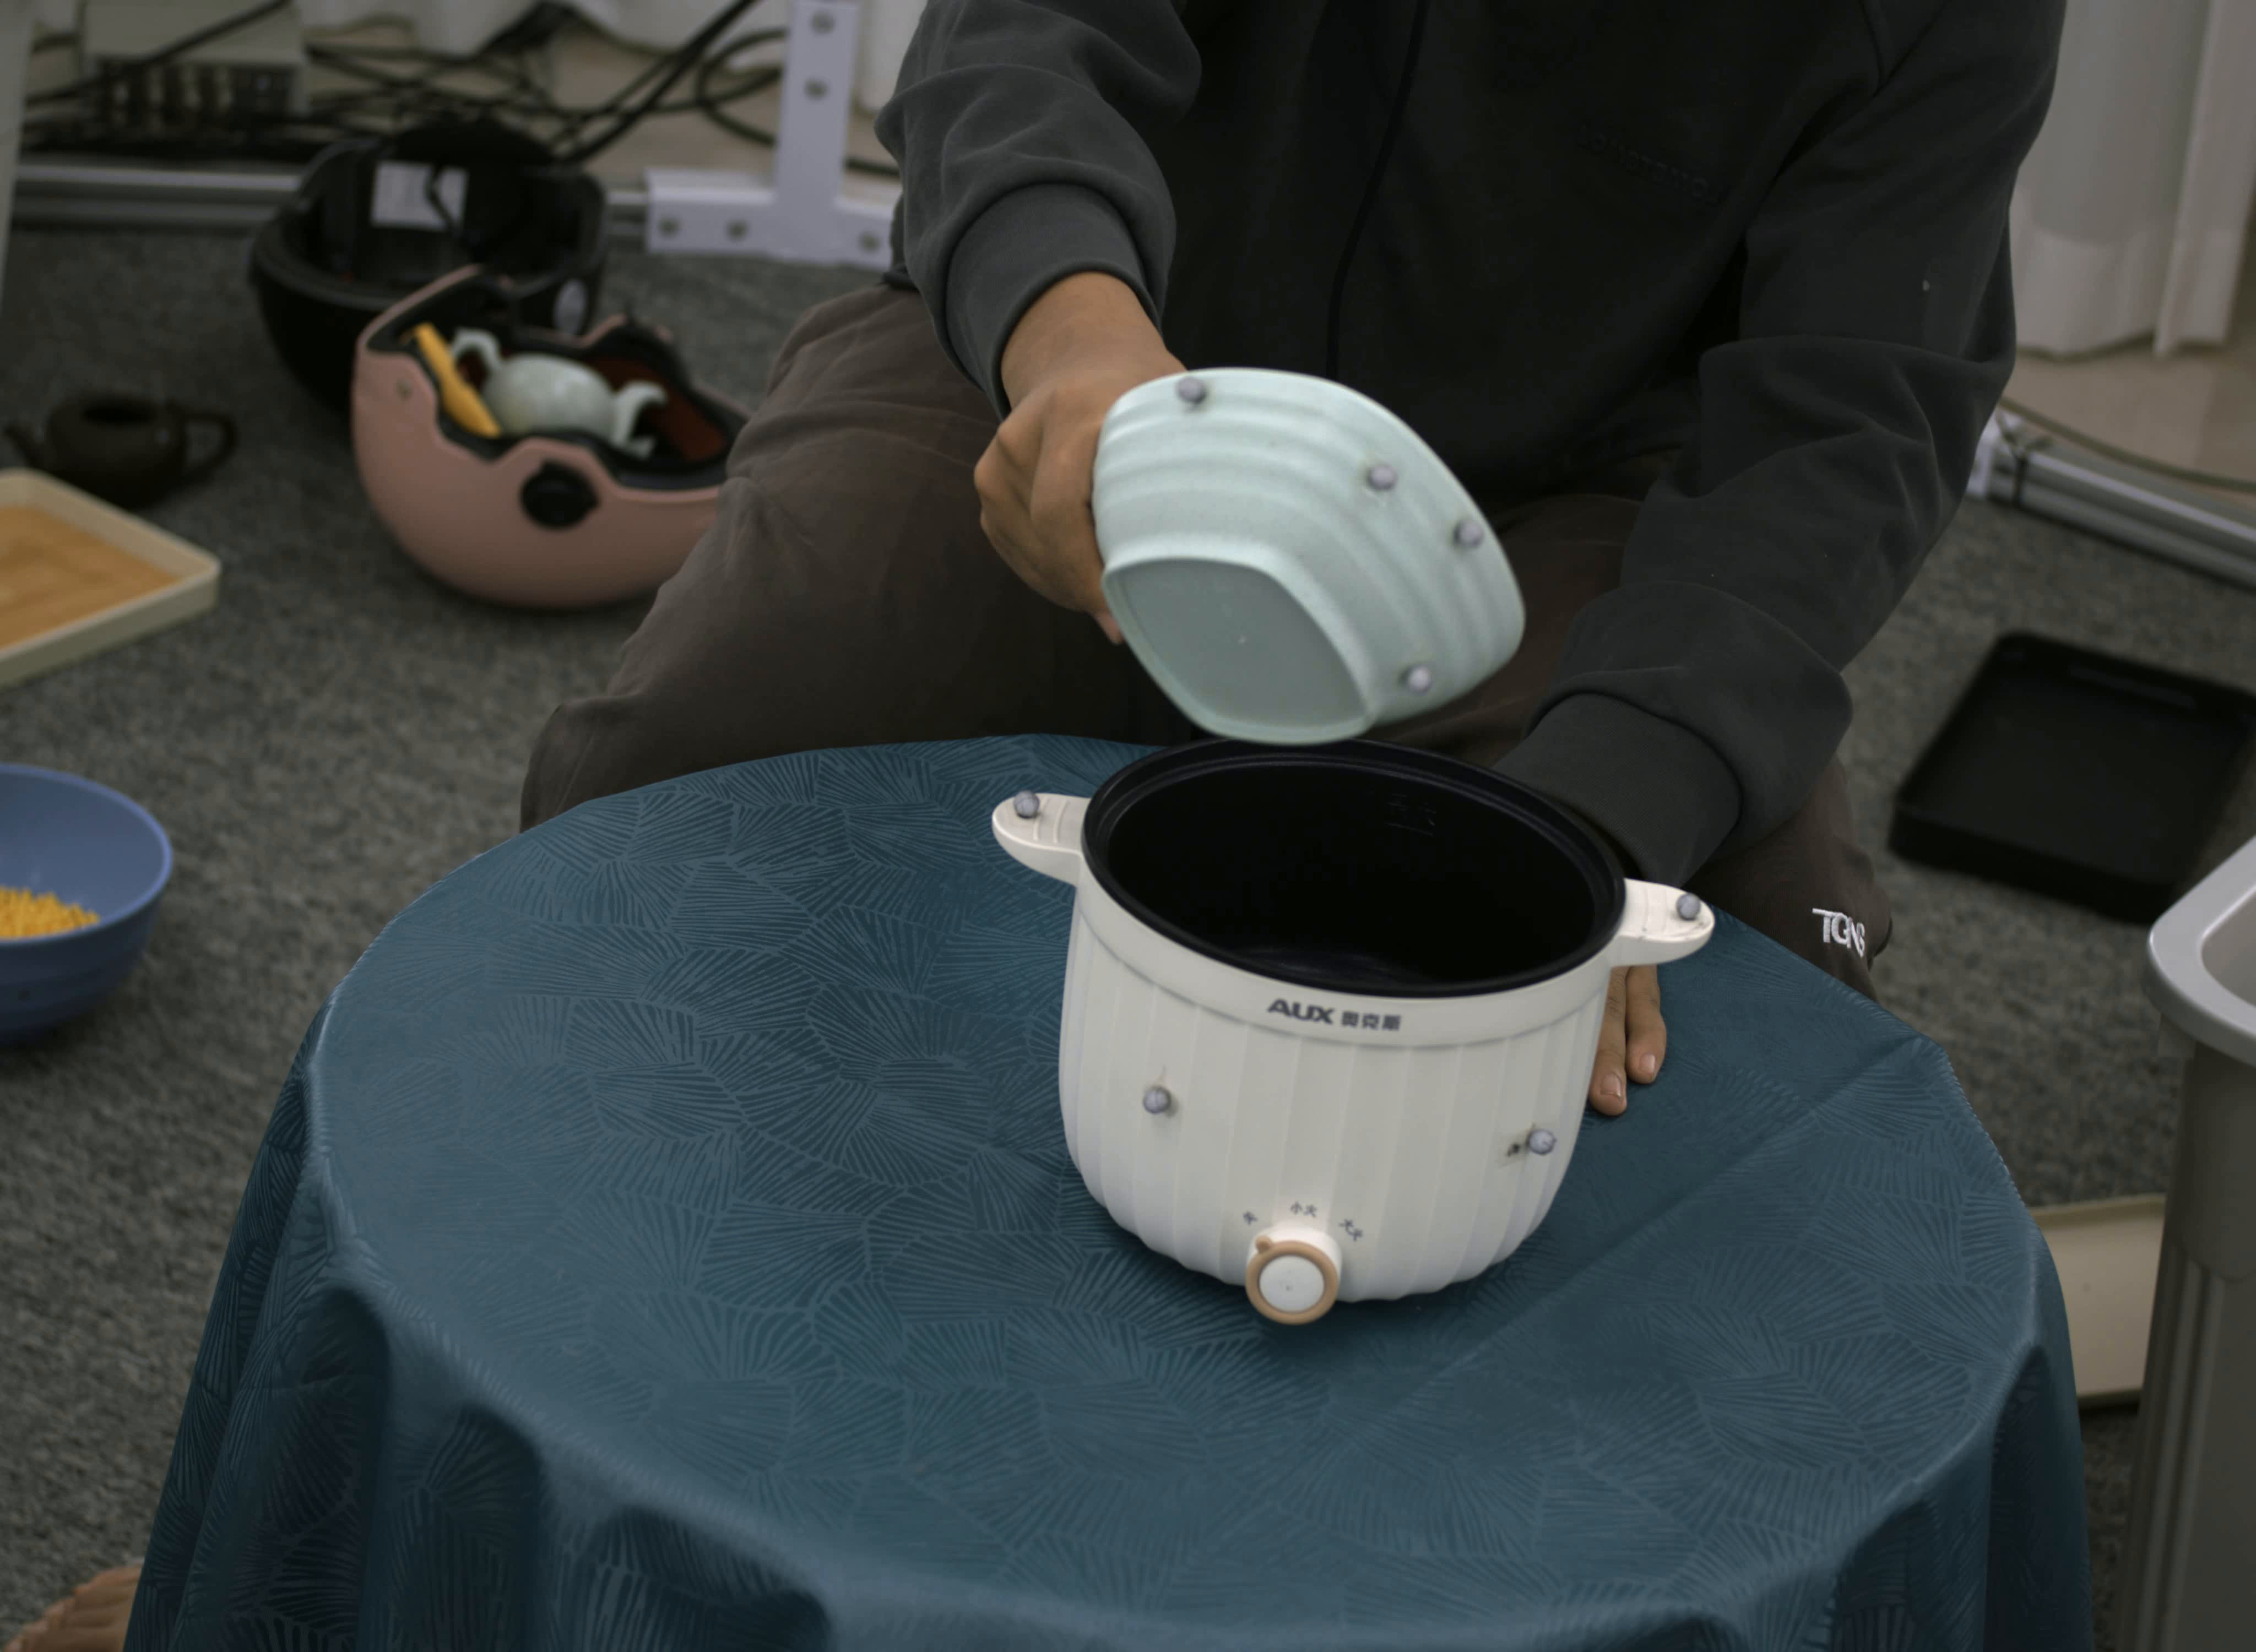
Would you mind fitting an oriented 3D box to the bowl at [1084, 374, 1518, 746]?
[{"bbox_3d":[0.044,-0.075,1.687,0.152,0.150,0.059,19,58,22],"label":"bowl"}]

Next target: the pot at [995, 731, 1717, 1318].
[{"bbox_3d":[0.069,0.069,1.776,0.240,0.142,0.191,6,23,2],"label":"pot"}]
